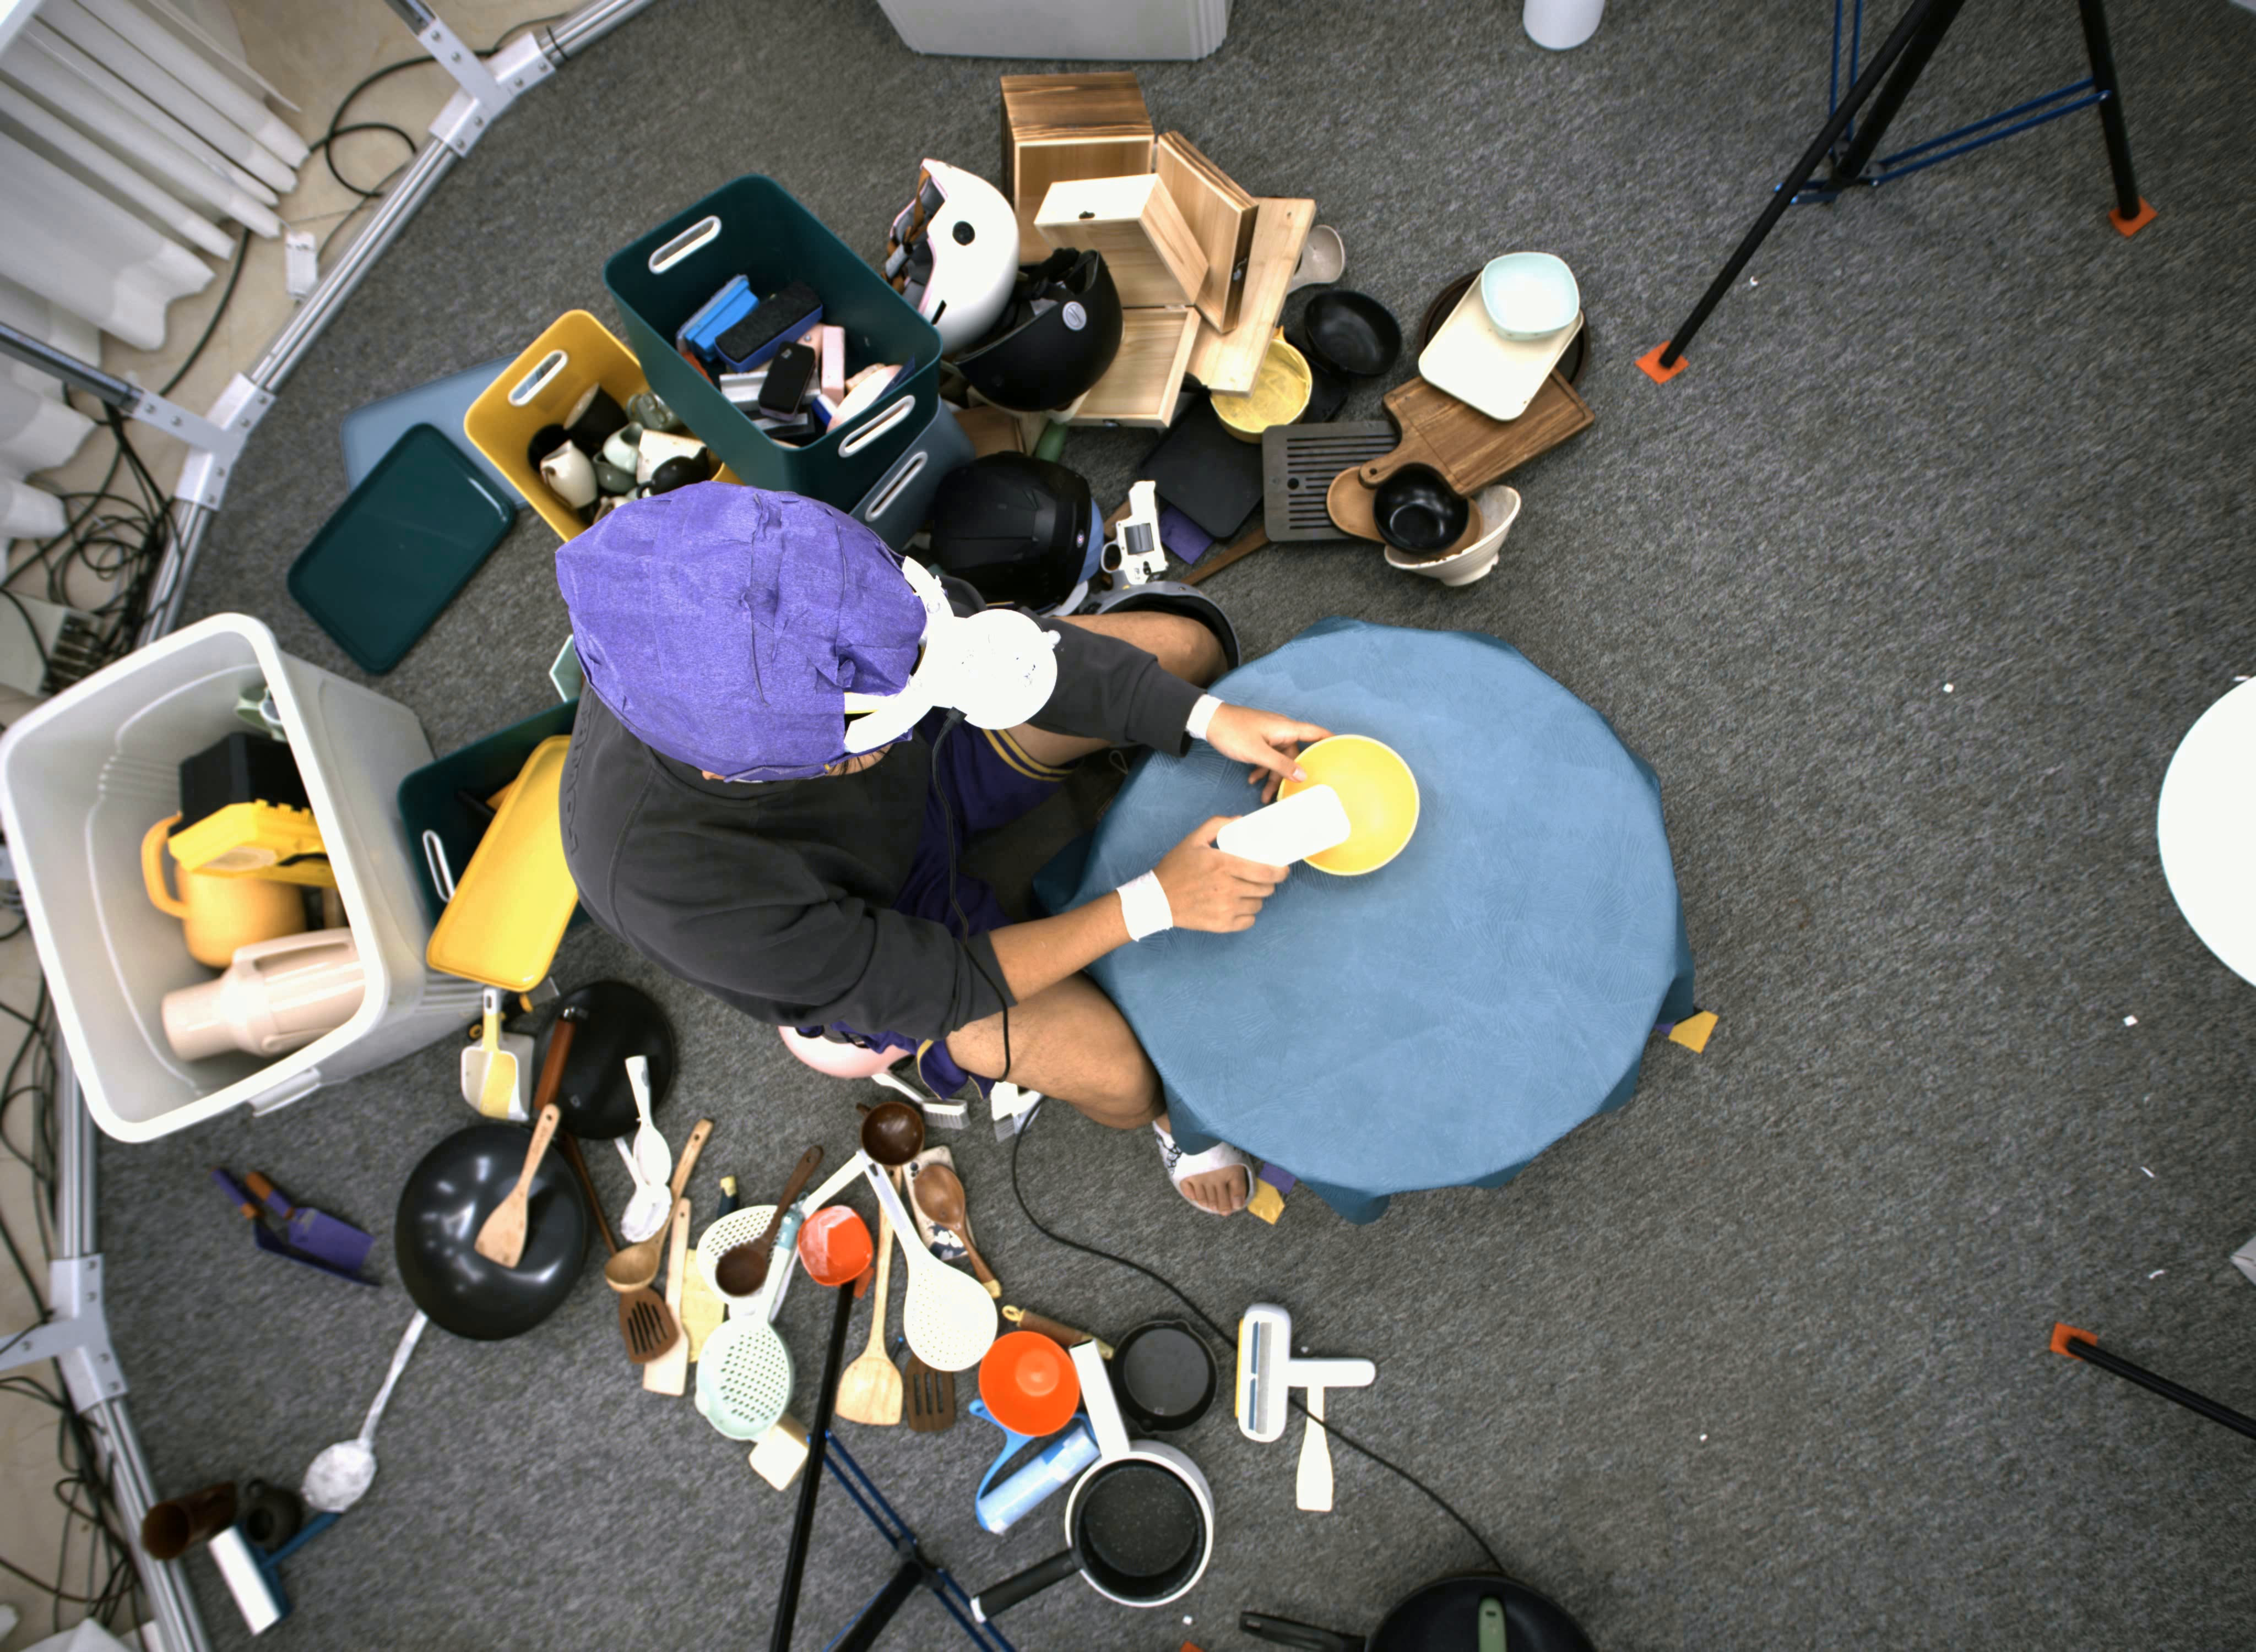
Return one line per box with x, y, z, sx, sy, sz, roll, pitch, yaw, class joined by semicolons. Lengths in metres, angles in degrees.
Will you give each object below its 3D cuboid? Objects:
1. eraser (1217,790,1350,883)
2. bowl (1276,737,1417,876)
0.158;0.010;1.409;0.132;0.034;0.063;-21;82;9;eraser
0.230;-0.018;1.443;0.146;0.060;0.144;-1;85;13;bowl
